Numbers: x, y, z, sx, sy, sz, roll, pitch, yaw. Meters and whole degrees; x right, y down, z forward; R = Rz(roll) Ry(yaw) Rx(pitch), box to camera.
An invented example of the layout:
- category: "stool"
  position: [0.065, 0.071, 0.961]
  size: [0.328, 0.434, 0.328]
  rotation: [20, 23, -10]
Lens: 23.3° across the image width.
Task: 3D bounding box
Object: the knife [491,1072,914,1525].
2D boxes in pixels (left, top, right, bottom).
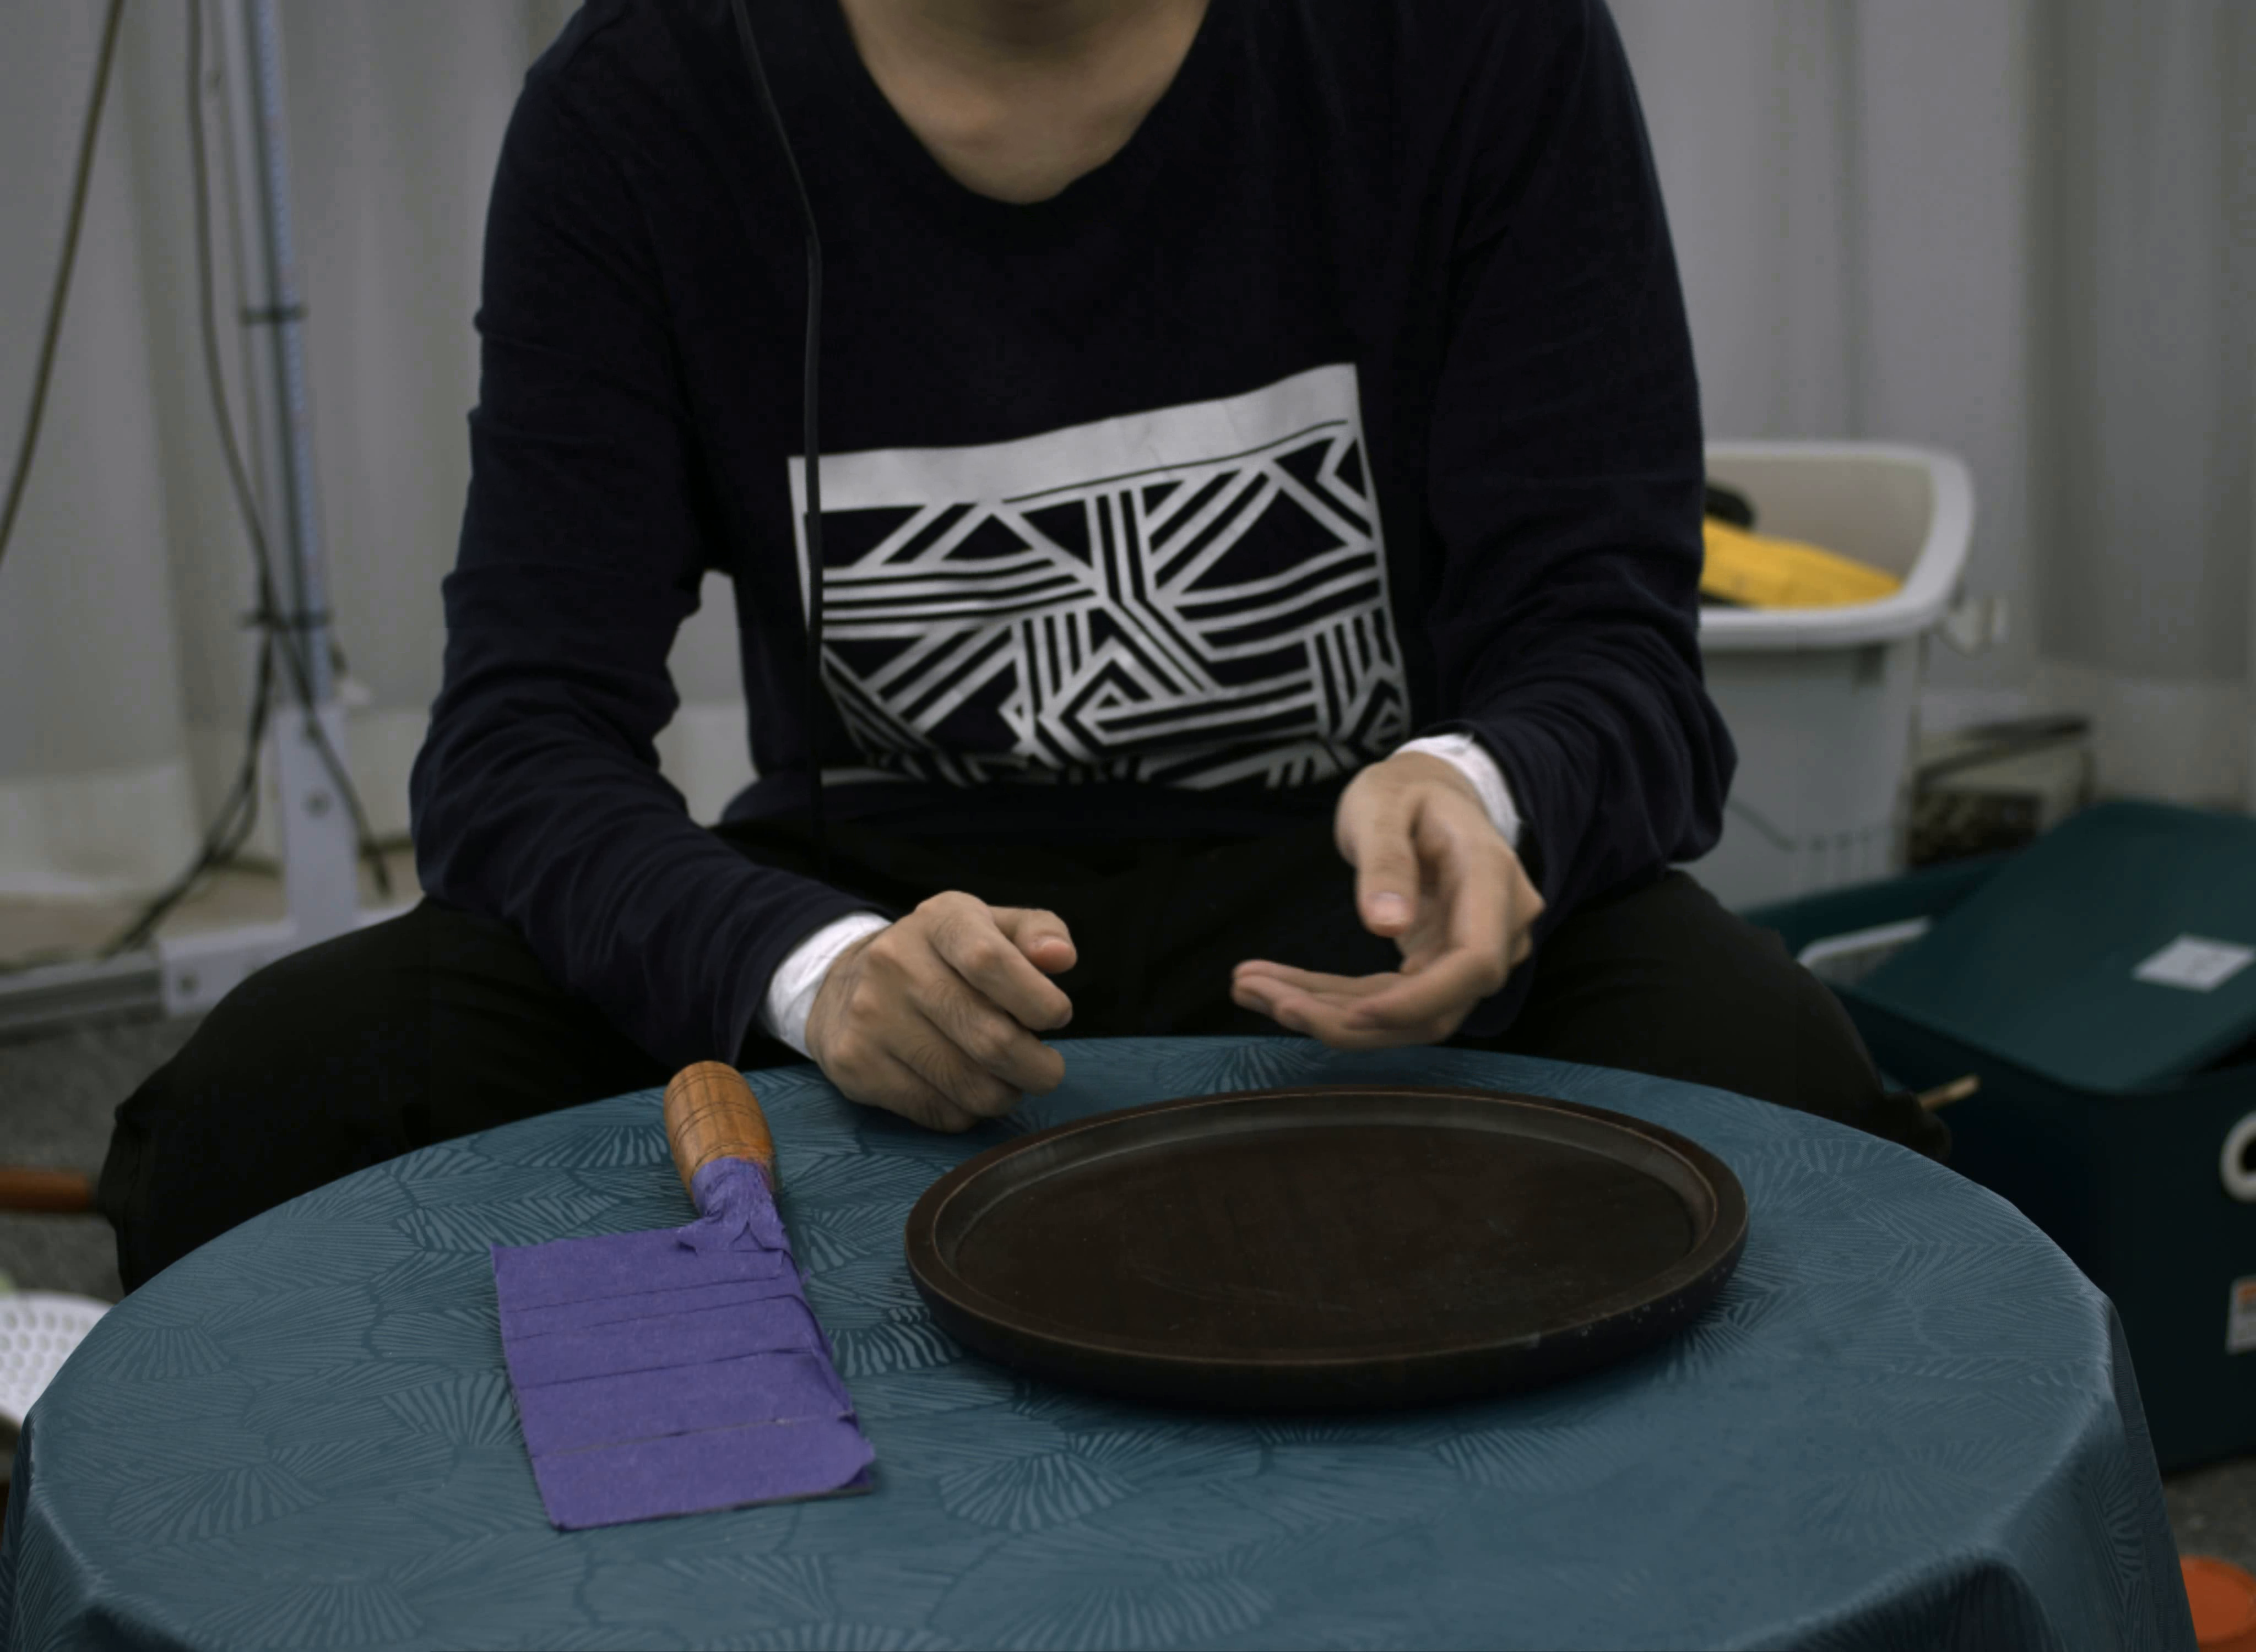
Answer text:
- category: "knife"
  position: [-0.139, 0.135, 1.614]
  size: [0.103, 0.032, 0.318]
  rotation: [-5, 15, -10]

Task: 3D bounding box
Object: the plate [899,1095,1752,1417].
- category: "plate"
  position: [0.058, 0.125, 1.624]
  size: [0.254, 0.029, 0.256]
  rotation: [-2, 15, 0]
